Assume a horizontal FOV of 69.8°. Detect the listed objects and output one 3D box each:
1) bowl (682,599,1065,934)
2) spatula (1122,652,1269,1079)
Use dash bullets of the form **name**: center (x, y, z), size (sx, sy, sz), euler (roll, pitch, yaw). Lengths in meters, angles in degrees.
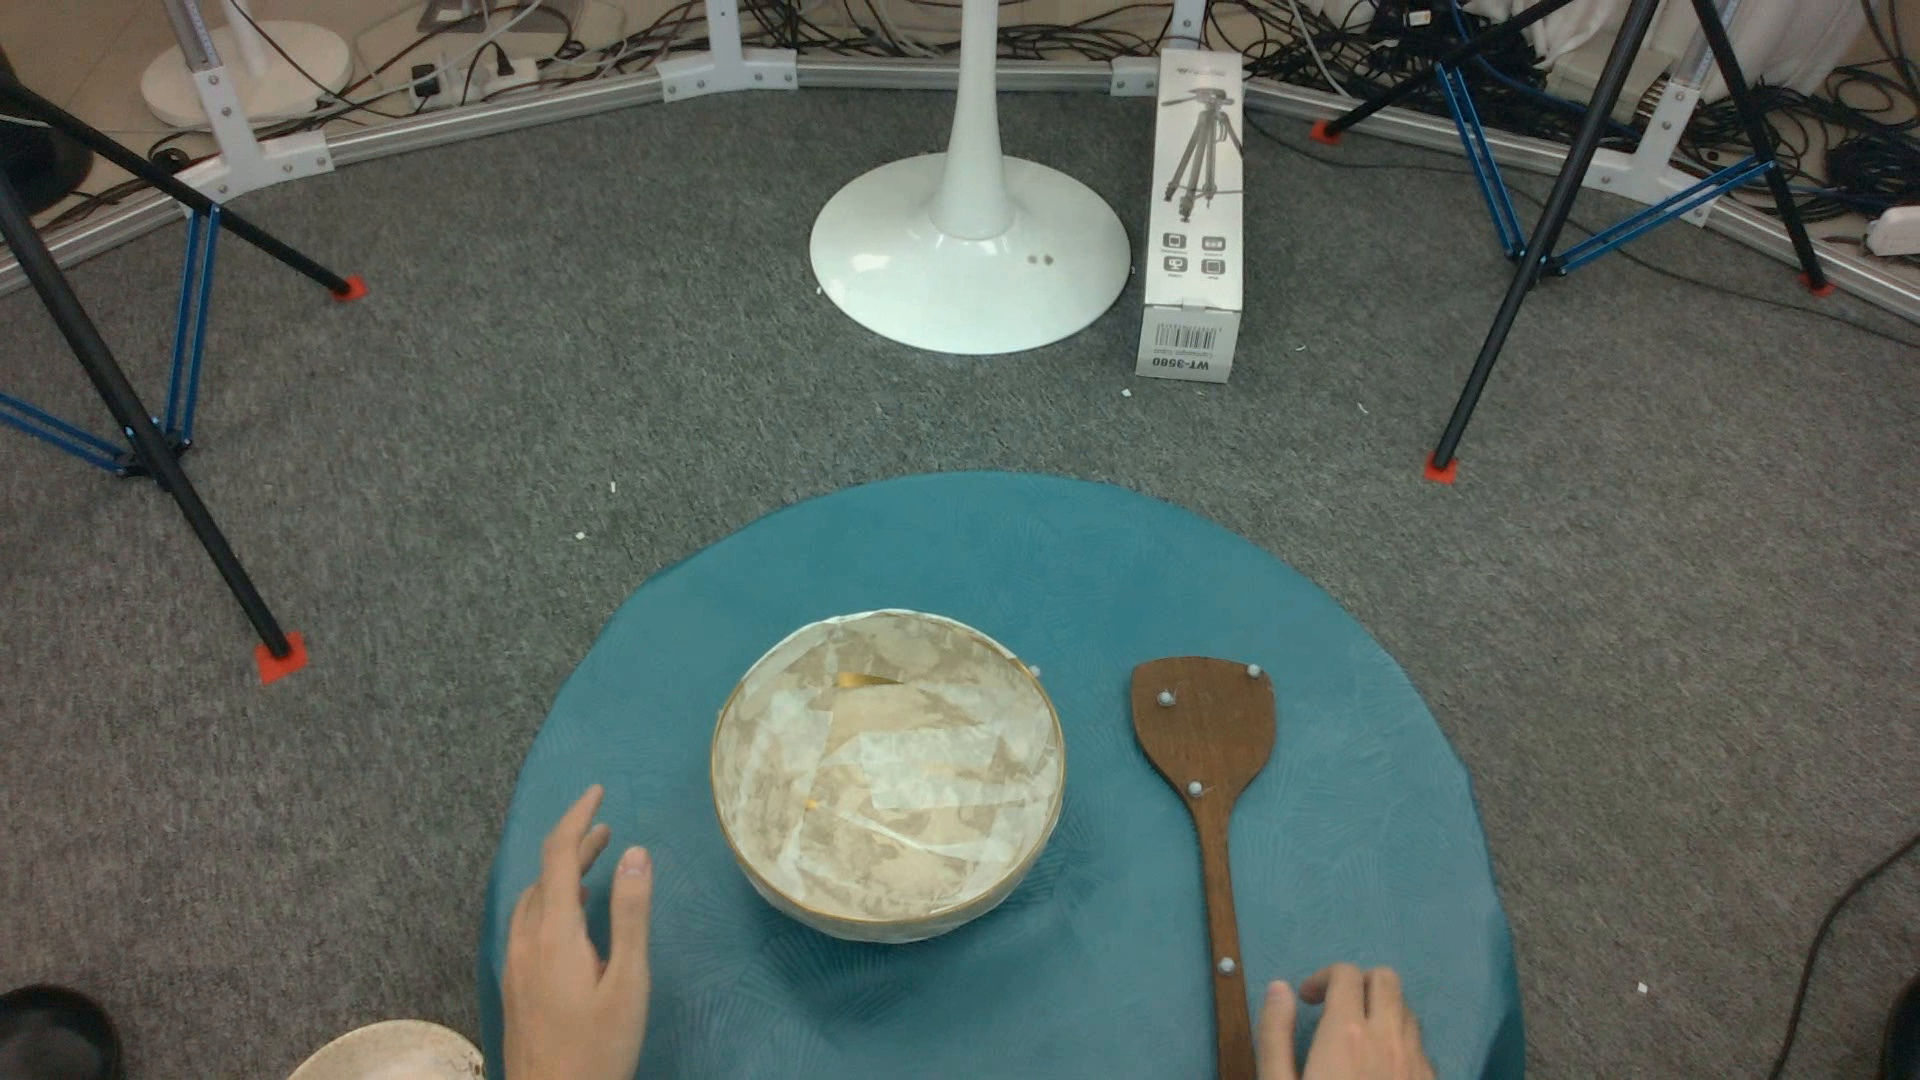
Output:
- **bowl**: center (-0.048, 0.144, 0.798), size (0.215, 0.094, 0.215), euler (3, 50, -3)
- **spatula**: center (0.148, 0.224, 0.793), size (0.096, 0.016, 0.388), euler (3, 49, -1)
